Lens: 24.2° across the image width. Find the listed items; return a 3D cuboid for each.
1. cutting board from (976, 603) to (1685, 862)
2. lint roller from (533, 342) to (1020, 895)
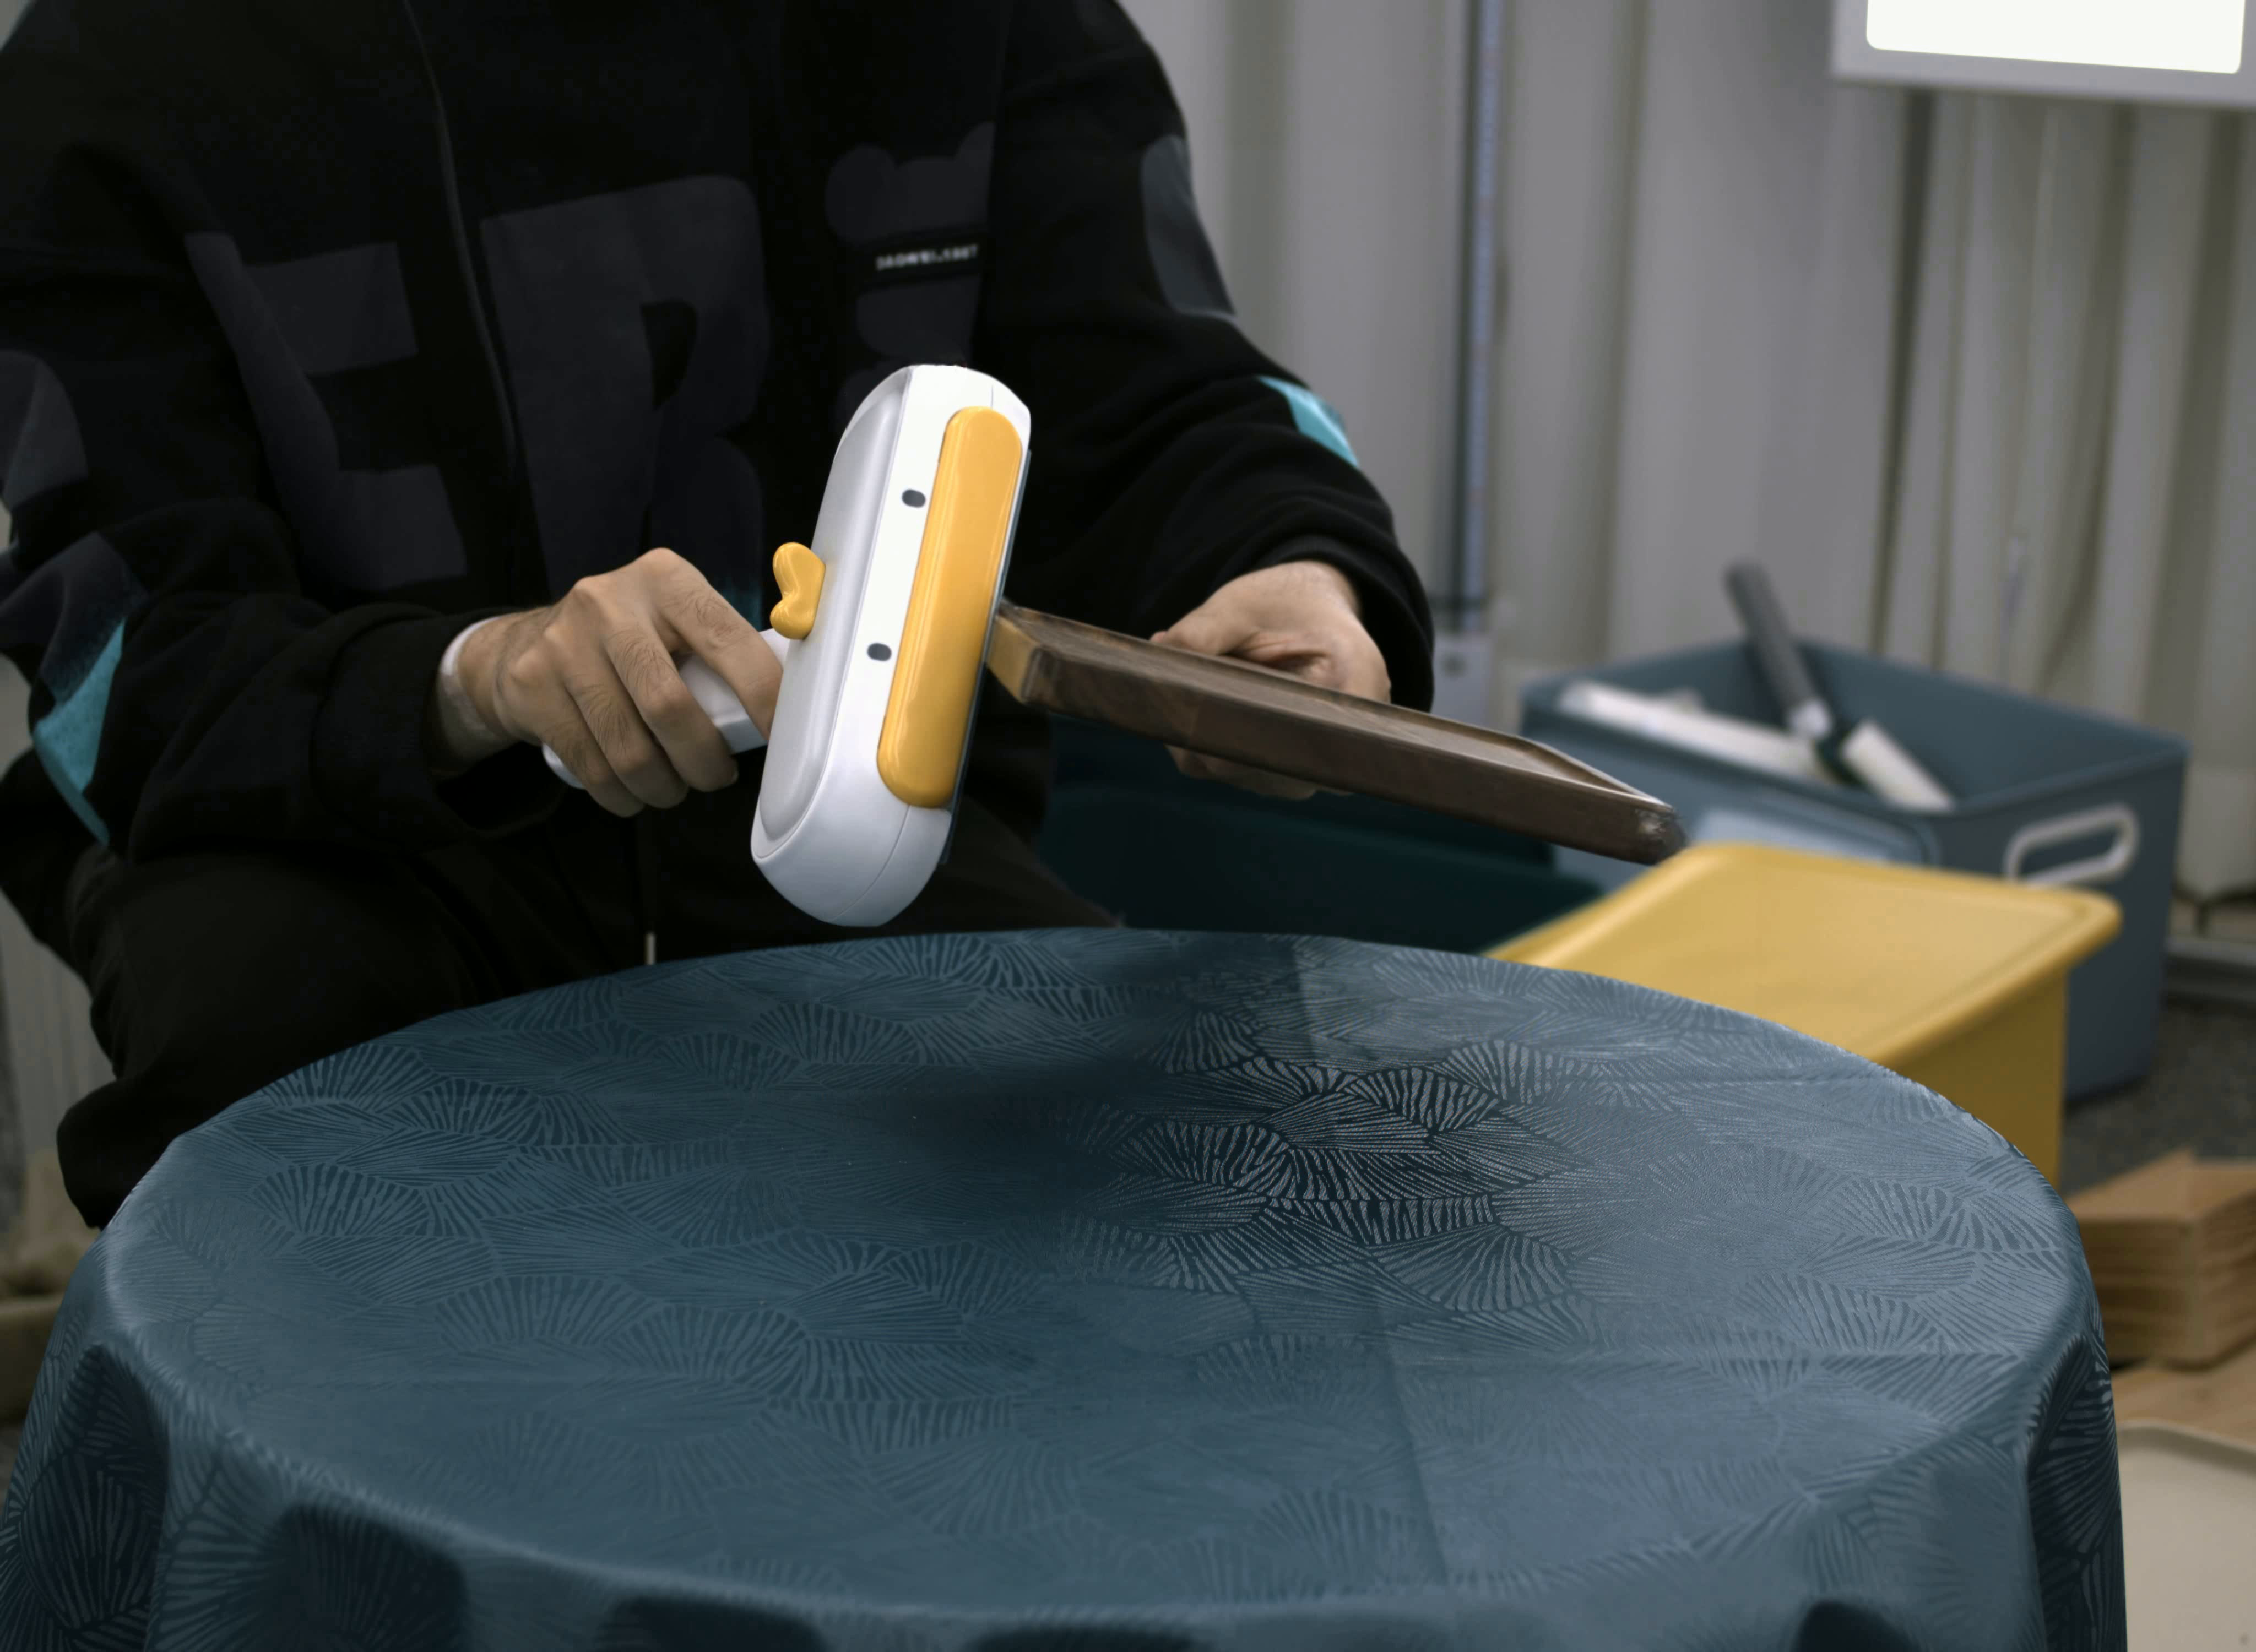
[{"bbox_3d":[0.049,-0.035,1.681,0.201,0.023,0.351,14,3,-7],"label":"cutting board"},{"bbox_3d":[-0.116,-0.048,1.696,0.075,0.191,0.191,26,-37,-31],"label":"lint roller"}]
